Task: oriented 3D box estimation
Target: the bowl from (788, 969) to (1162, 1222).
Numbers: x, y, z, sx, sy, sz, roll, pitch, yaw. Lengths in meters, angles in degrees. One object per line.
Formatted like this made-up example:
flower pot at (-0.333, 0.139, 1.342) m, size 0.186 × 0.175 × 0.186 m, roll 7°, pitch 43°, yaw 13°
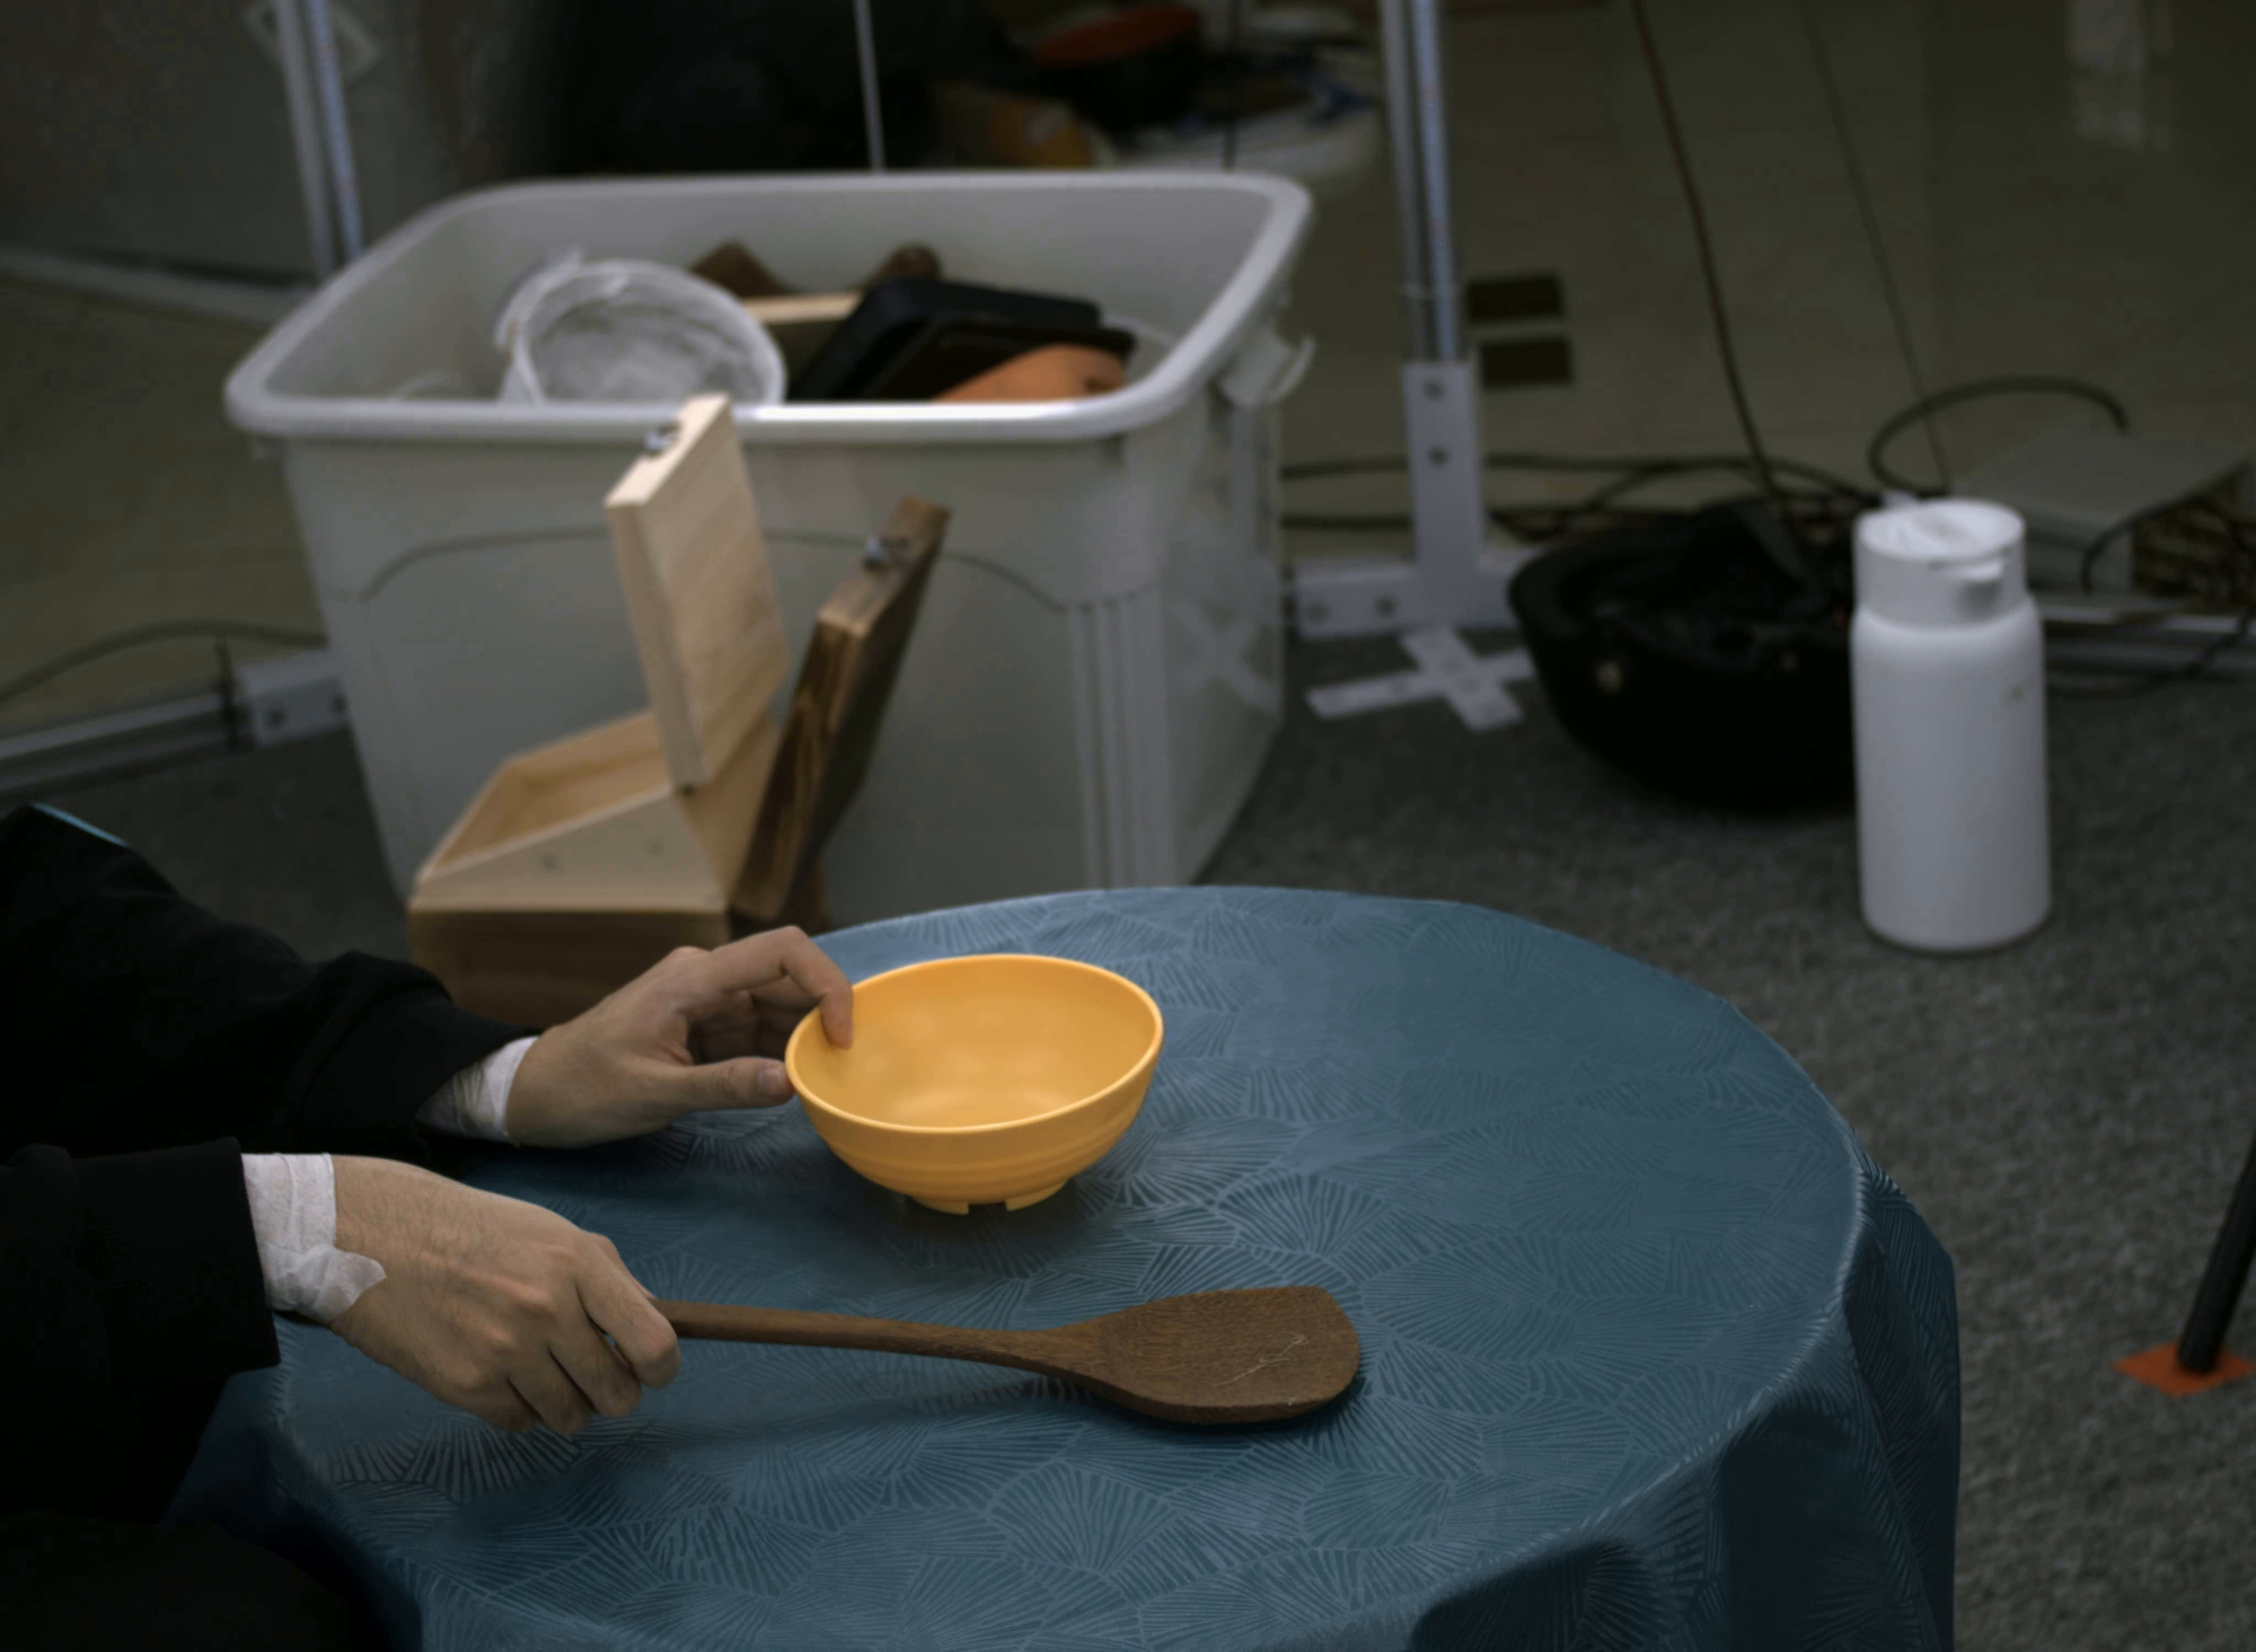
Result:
bowl at (-0.055, 0.110, 2.161) m, size 0.145 × 0.061 × 0.143 m, roll -5°, pitch 24°, yaw 2°

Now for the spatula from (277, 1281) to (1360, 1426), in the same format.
spatula at (-0.110, 0.181, 2.018) m, size 0.385 × 0.016 × 0.095 m, roll 3°, pitch 22°, yaw -1°
